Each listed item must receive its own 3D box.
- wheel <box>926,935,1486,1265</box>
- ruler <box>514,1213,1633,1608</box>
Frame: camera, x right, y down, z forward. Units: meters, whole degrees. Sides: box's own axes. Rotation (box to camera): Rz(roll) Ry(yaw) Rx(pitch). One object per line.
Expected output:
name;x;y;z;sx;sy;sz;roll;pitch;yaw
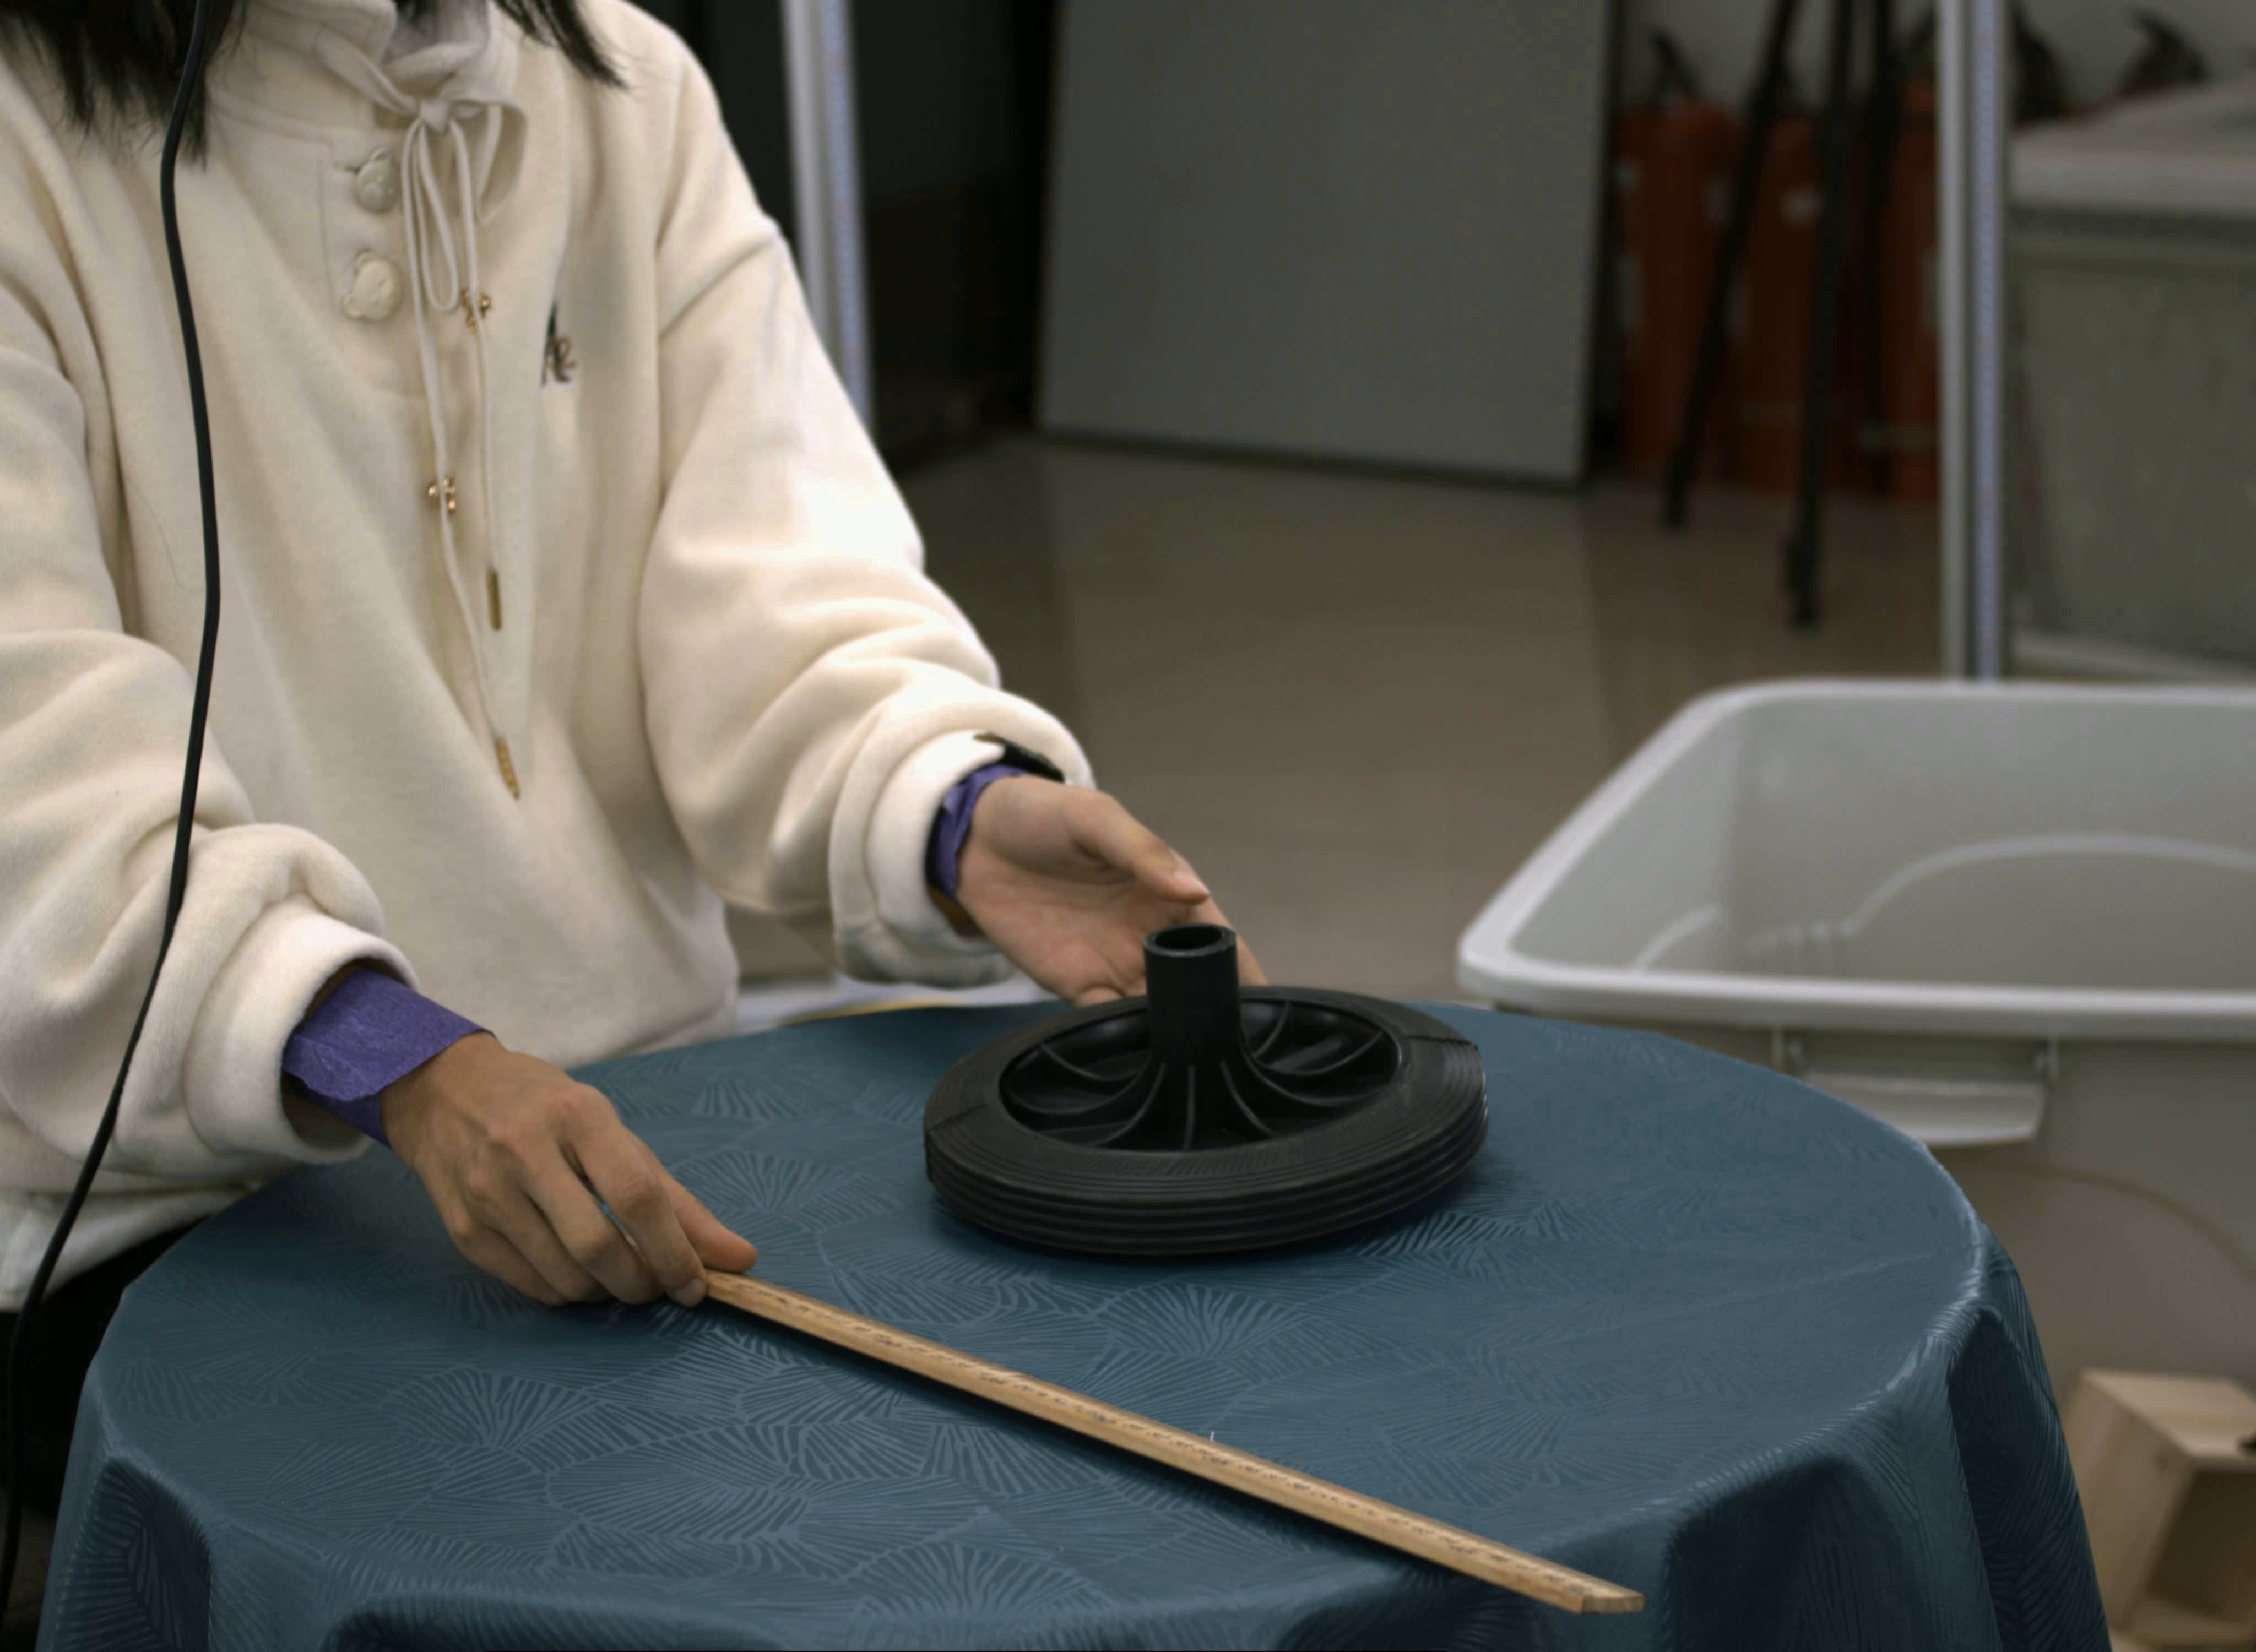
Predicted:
wheel;0.024;0.078;1.768;0.188;0.080;0.187;3;20;26
ruler;-0.035;0.164;1.579;0.026;0.006;0.505;10;2;-40
